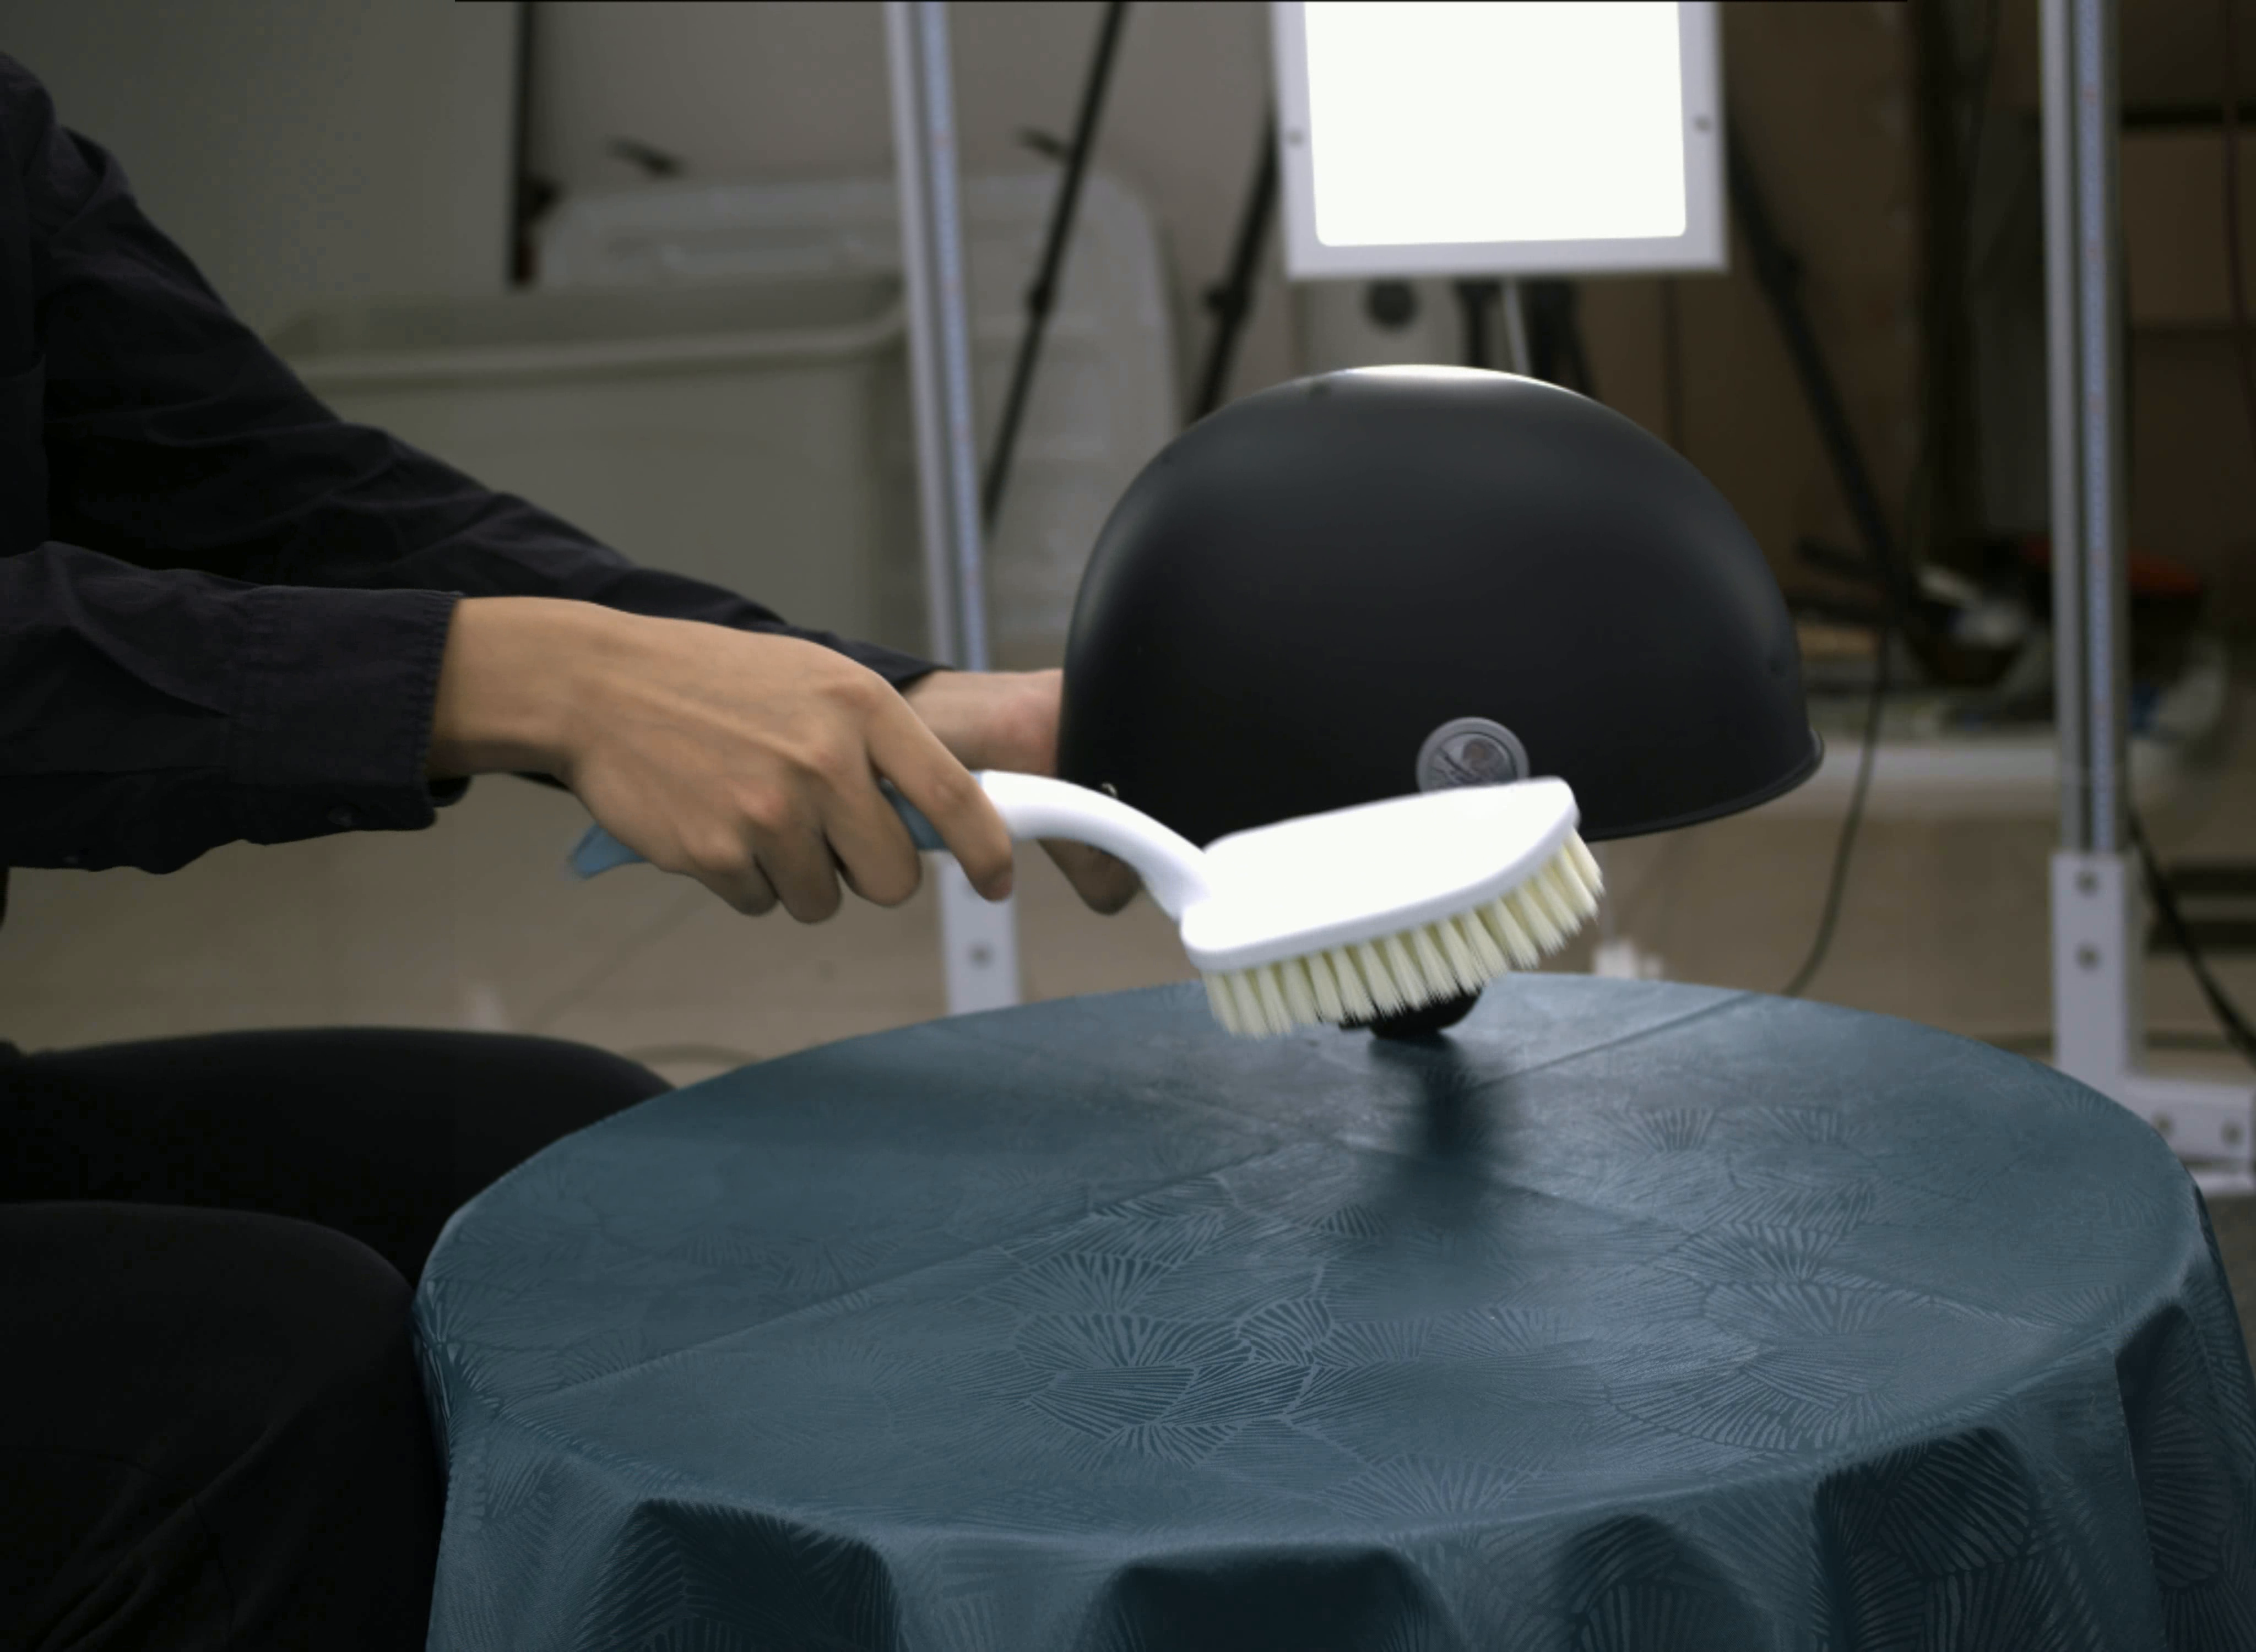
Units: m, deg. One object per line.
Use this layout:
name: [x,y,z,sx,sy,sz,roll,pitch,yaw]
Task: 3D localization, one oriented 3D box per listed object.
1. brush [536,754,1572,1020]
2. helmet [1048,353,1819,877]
brush: [-0.023,0.021,1.727,0.327,0.085,0.082,-2,-6,9]
helmet: [0.097,-0.082,1.919,0.277,0.167,0.226,-5,17,22]
